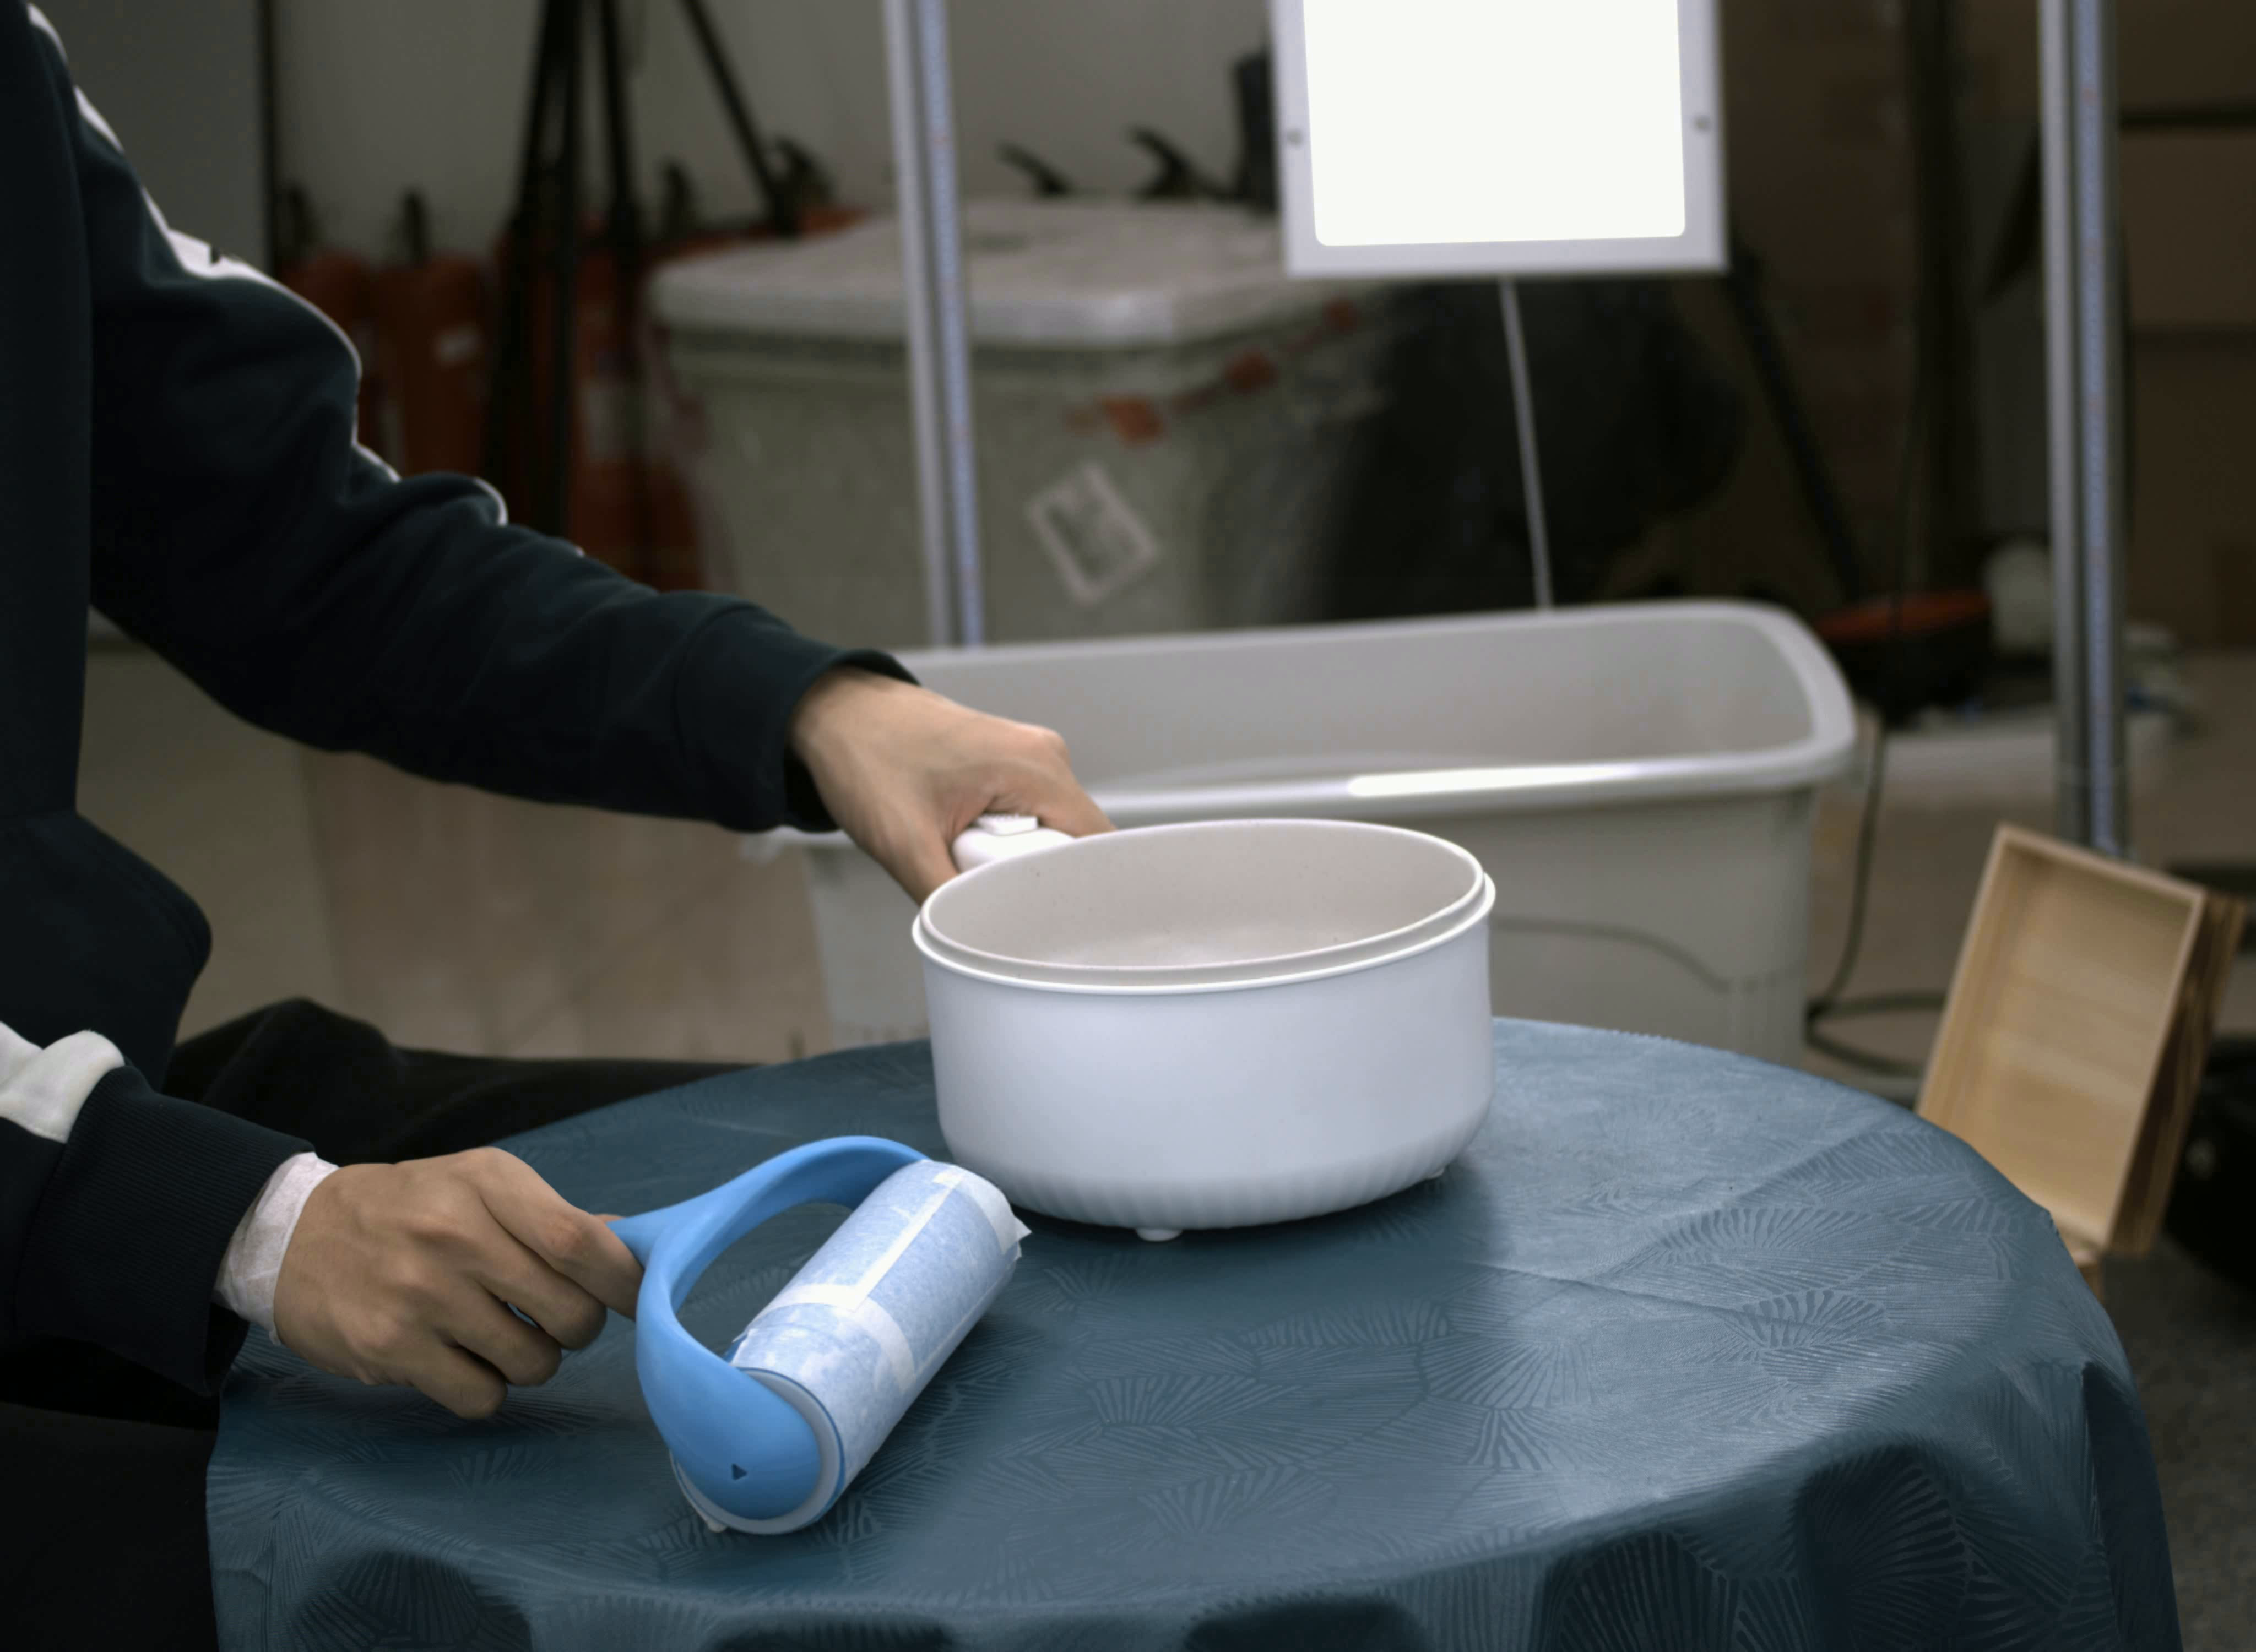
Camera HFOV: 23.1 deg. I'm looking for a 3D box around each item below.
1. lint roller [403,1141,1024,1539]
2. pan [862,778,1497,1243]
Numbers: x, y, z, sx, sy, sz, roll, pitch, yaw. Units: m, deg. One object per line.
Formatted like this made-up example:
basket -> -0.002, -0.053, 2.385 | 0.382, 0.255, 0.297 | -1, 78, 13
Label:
lint roller -> -0.140, 0.154, 1.701 | 0.181, 0.068, 0.226 | 2, 17, 12
pan -> -0.005, 0.059, 1.965 | 0.197, 0.102, 0.360 | -12, 14, -24
